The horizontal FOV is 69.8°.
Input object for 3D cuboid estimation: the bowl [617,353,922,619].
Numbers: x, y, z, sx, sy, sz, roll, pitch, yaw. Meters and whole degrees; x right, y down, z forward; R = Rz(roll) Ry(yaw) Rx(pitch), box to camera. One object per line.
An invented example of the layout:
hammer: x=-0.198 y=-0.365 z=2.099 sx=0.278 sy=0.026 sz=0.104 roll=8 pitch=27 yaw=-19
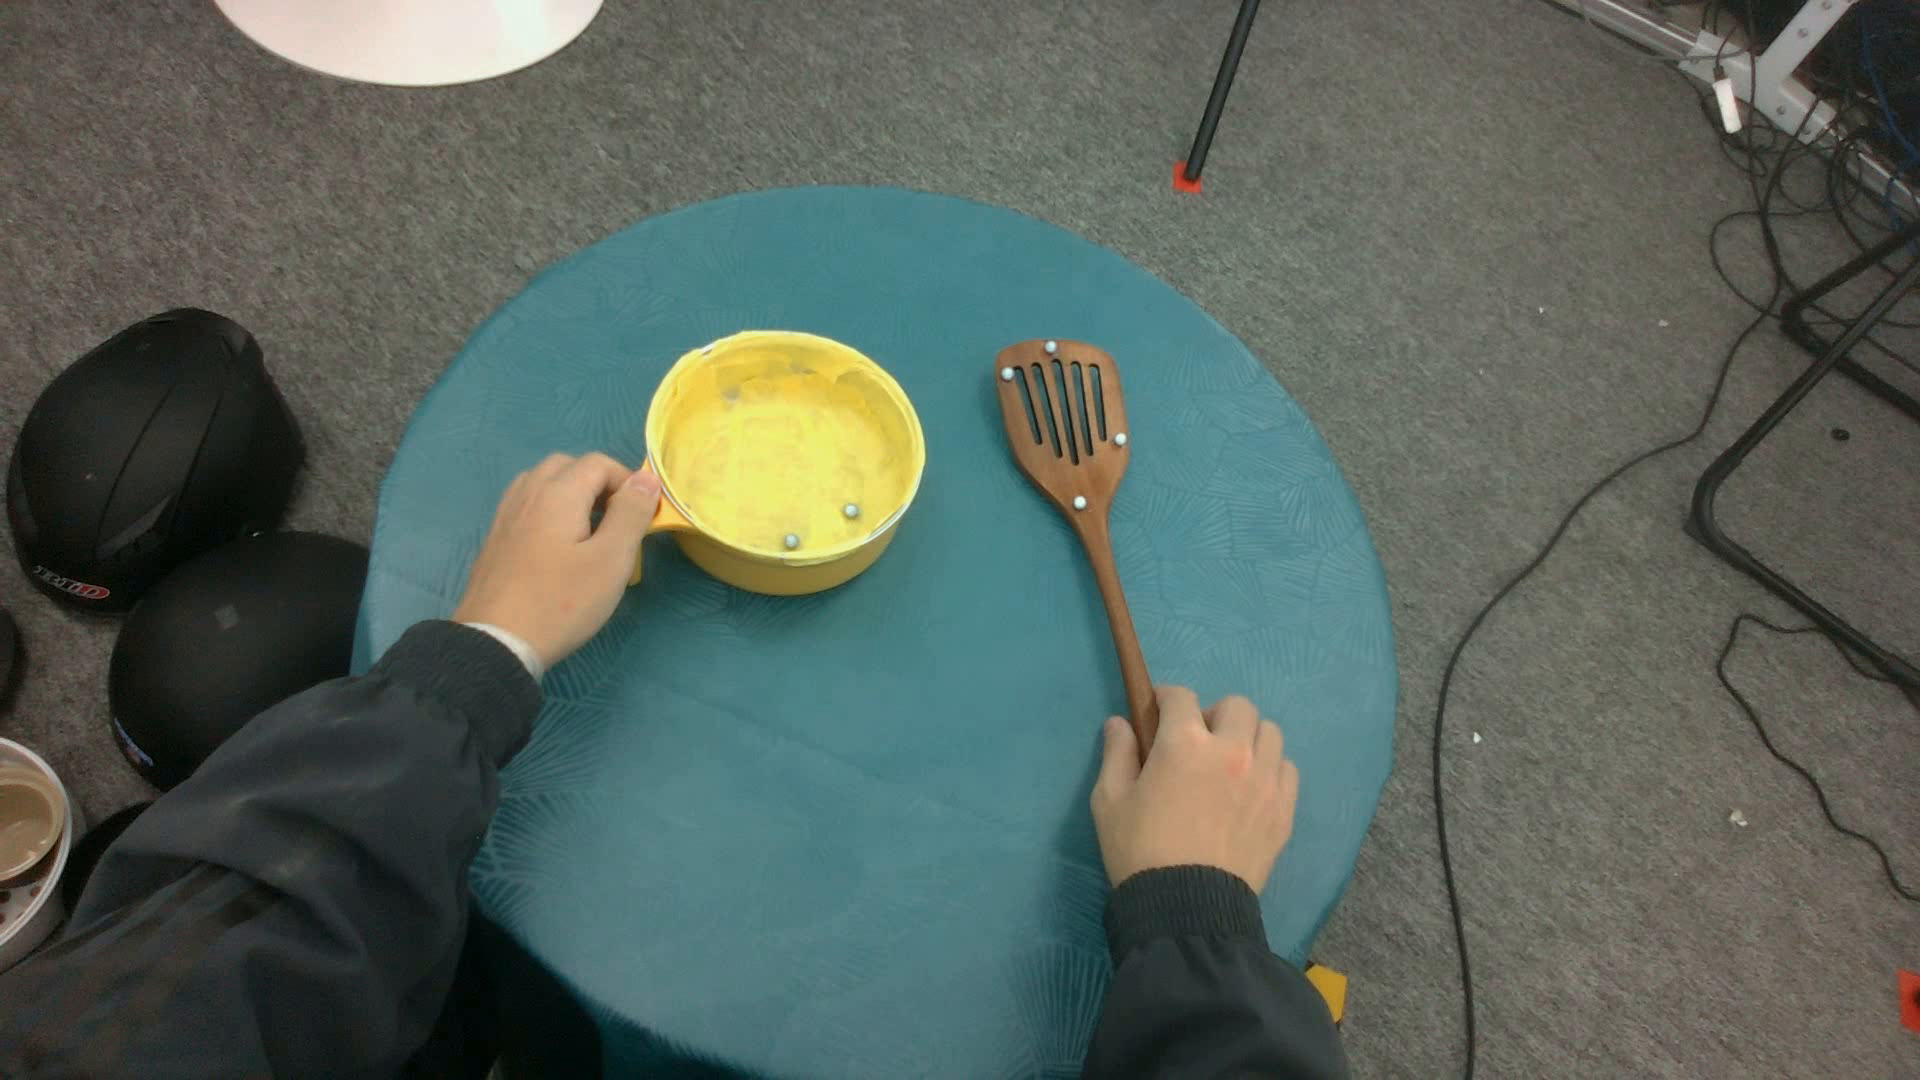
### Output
bowl: x=-0.112 y=-0.024 z=0.790 sx=0.180 sy=0.074 sz=0.153 roll=-35 pitch=70 yaw=-27

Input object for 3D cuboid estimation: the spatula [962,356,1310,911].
spatula: x=0.107 y=0.042 z=0.823 sx=0.085 sy=0.024 sz=0.387 roll=-19 pitch=61 yaw=-12
